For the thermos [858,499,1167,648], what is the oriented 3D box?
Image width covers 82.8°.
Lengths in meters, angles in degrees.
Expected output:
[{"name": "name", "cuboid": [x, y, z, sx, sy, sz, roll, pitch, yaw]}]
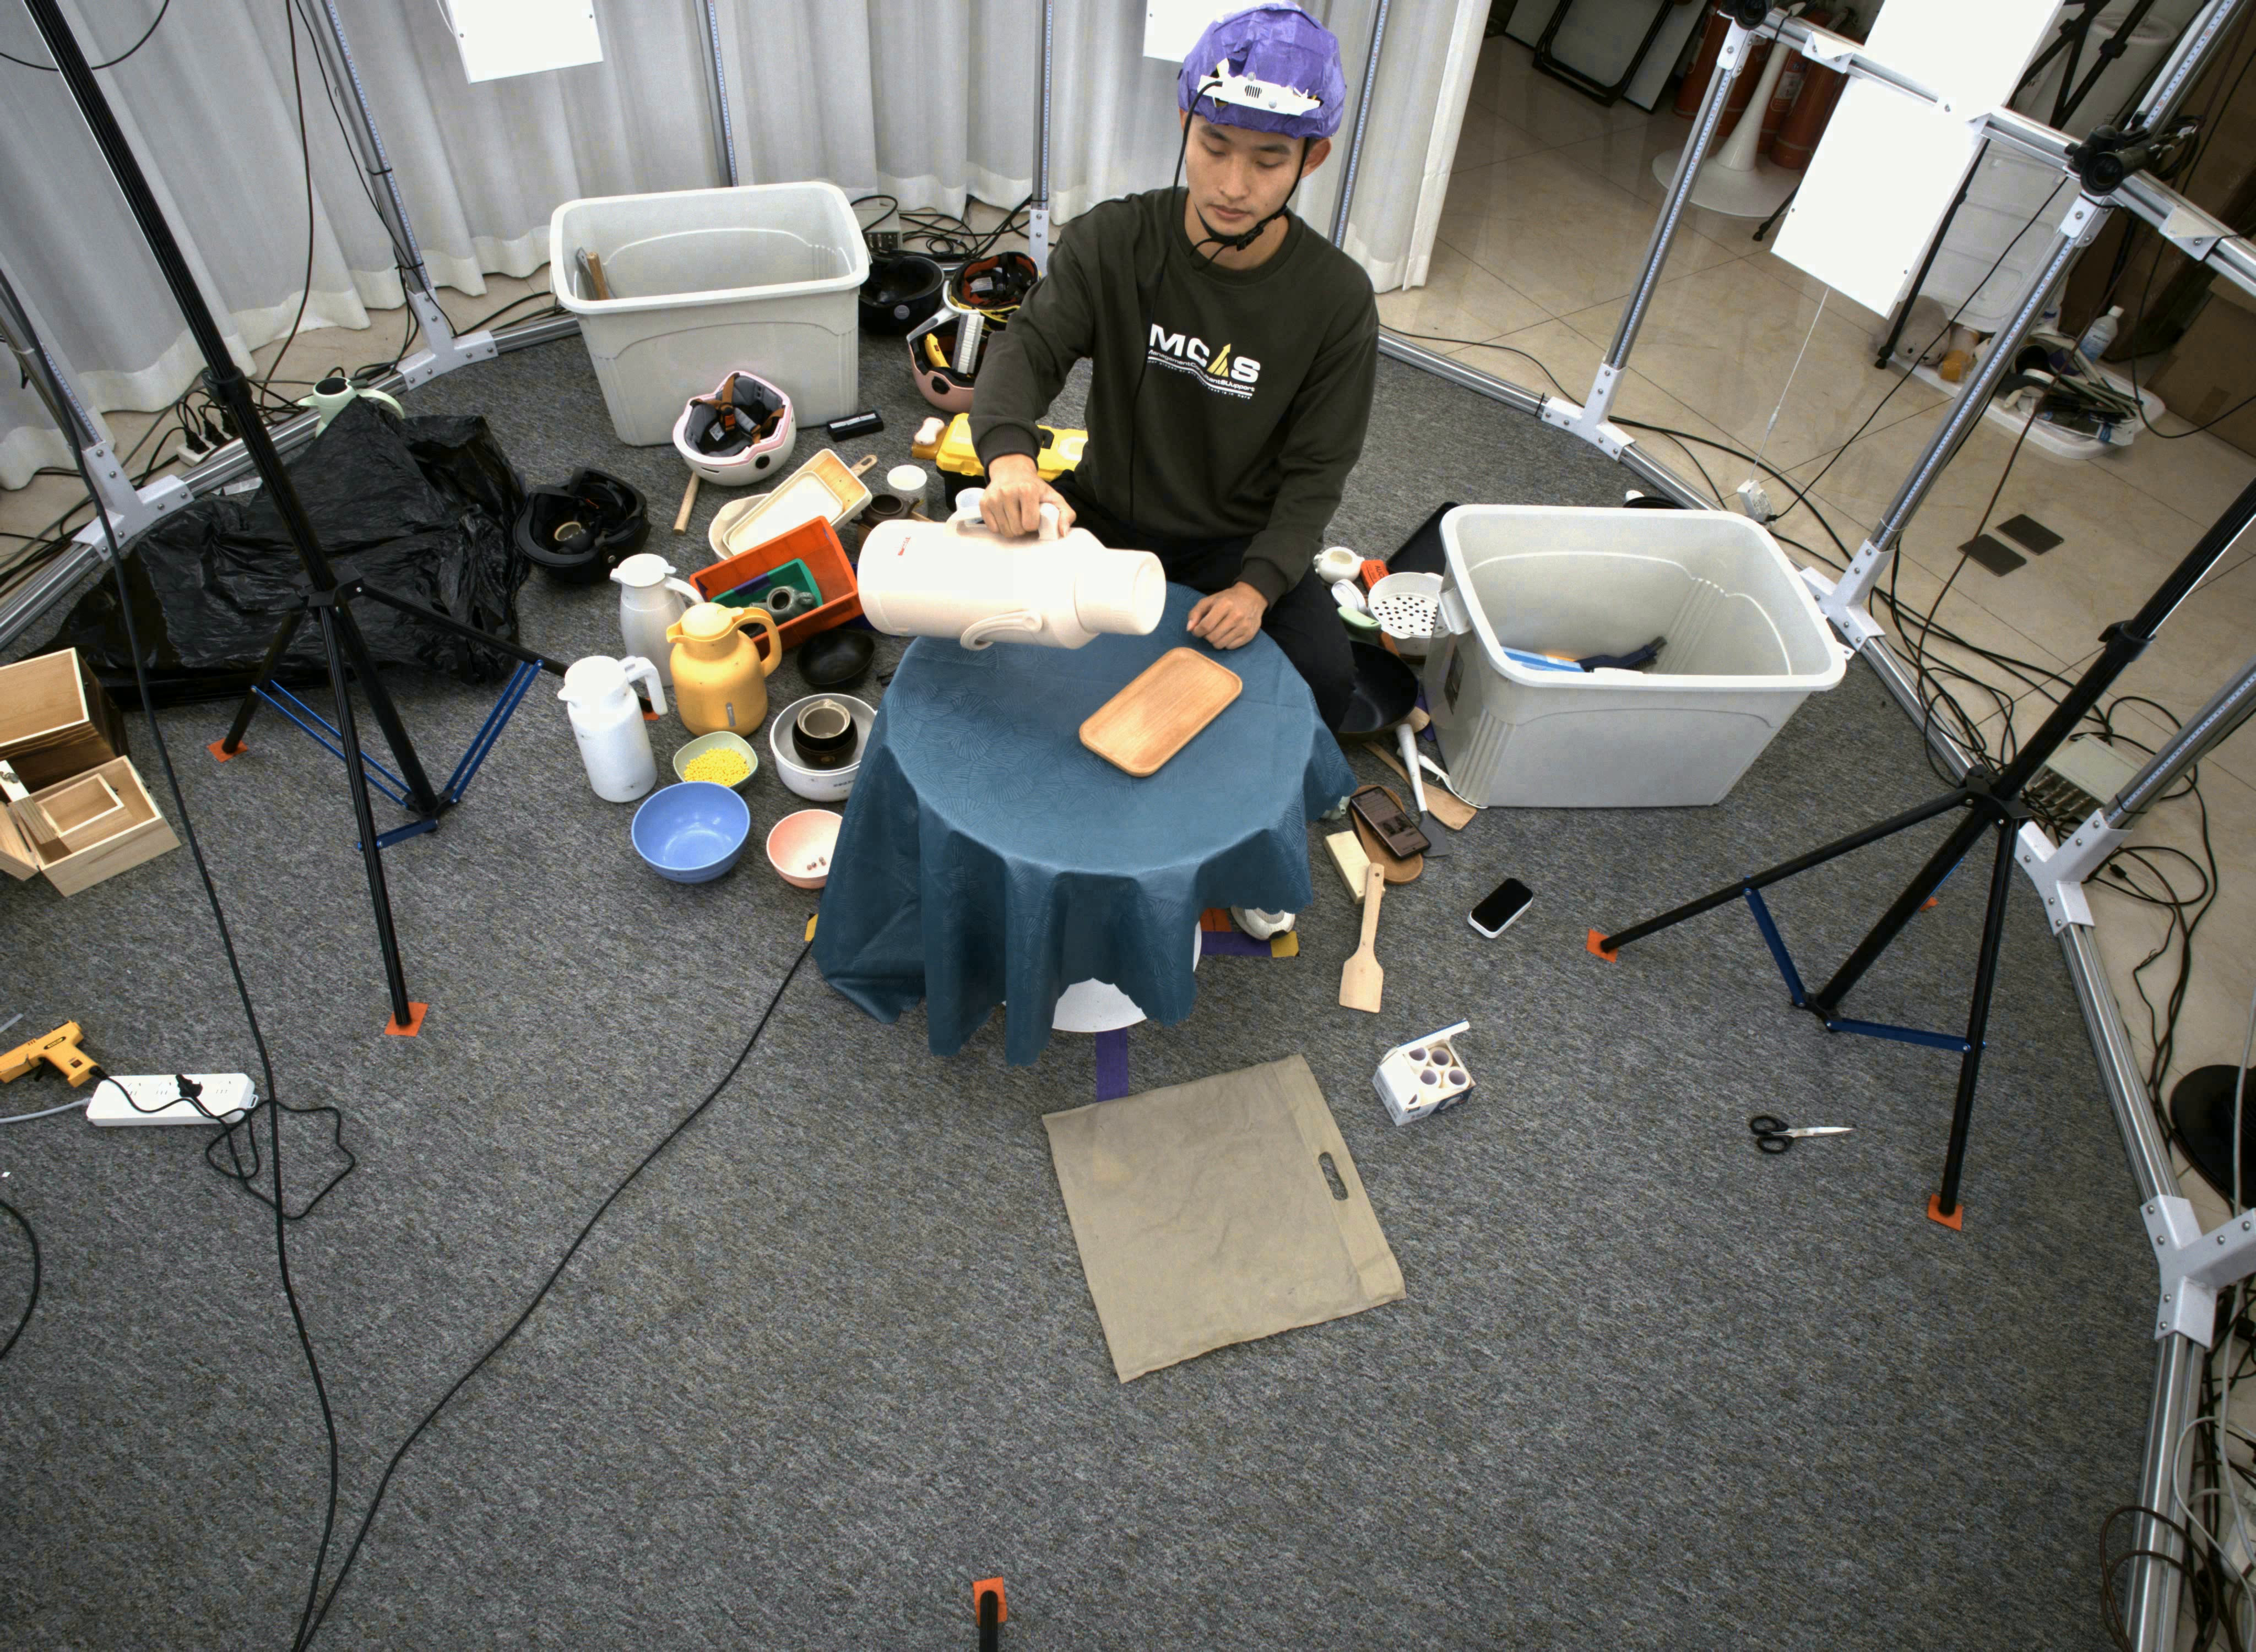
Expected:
[{"name": "thermos", "cuboid": [-0.153, -0.333, 1.701, 0.409, 0.202, 0.178, 9, 43, 28]}]

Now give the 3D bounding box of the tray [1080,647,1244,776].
[{"name": "tray", "cuboid": [0.049, -0.163, 1.799, 0.132, 0.022, 0.253, 35, 54, 21]}]
